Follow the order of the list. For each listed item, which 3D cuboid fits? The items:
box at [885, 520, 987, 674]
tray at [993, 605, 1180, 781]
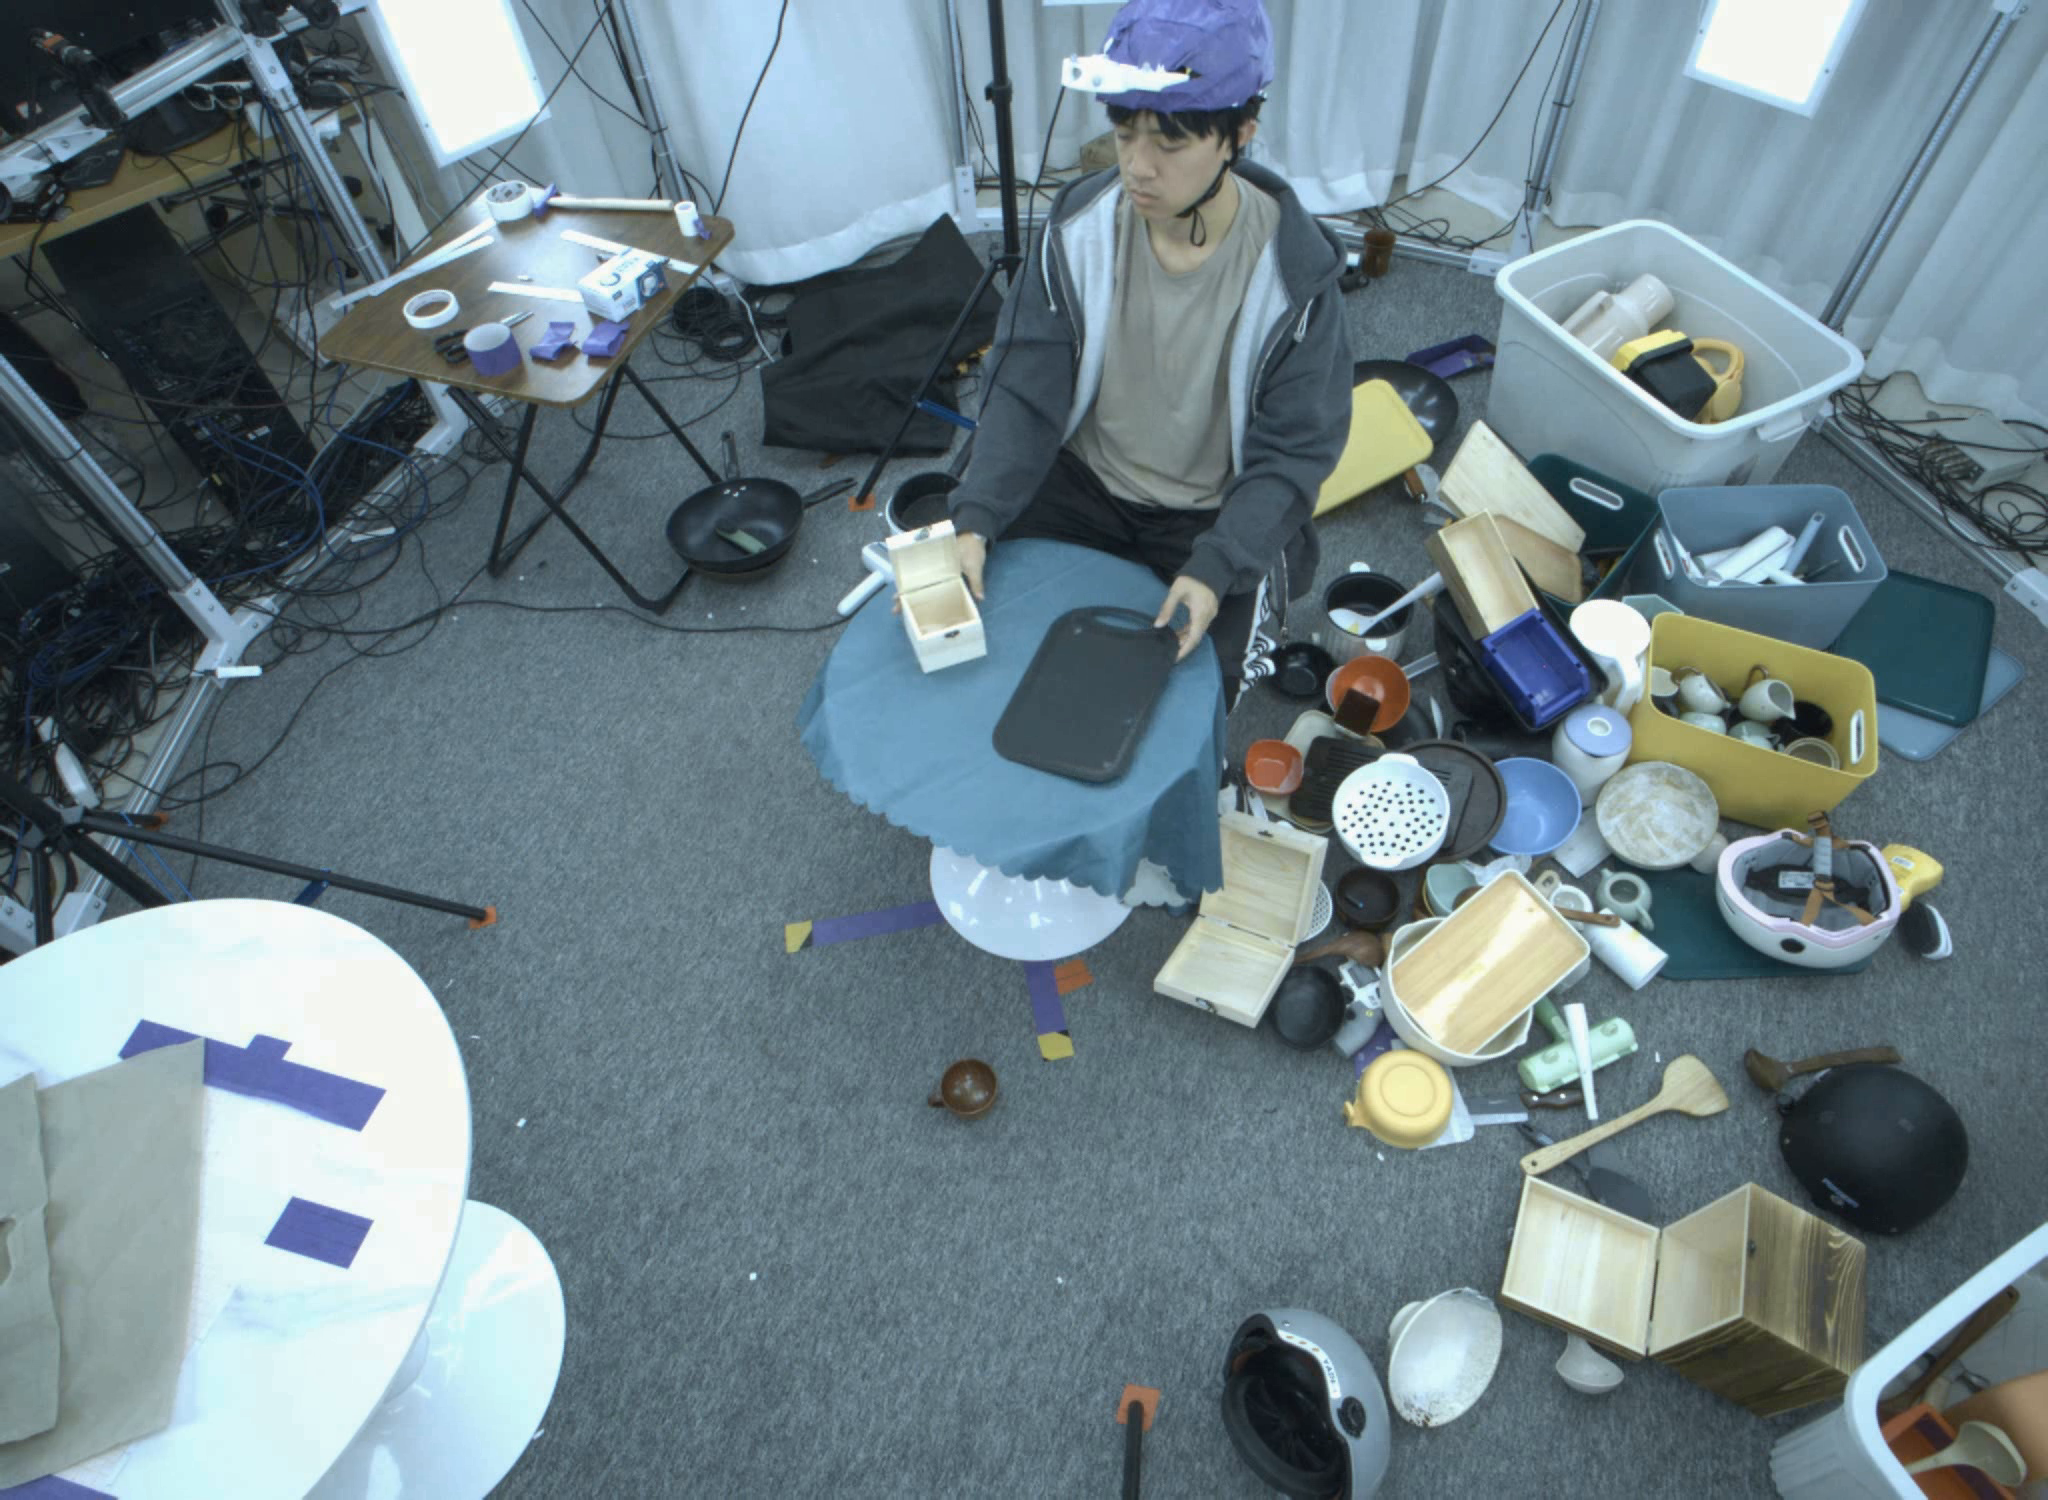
[{"bbox_3d":[-0.131,-0.229,1.843,0.103,0.187,0.131,-19,54,-9],"label":"box"},{"bbox_3d":[0.098,-0.098,1.842,0.208,0.010,0.325,16,58,18],"label":"tray"}]
